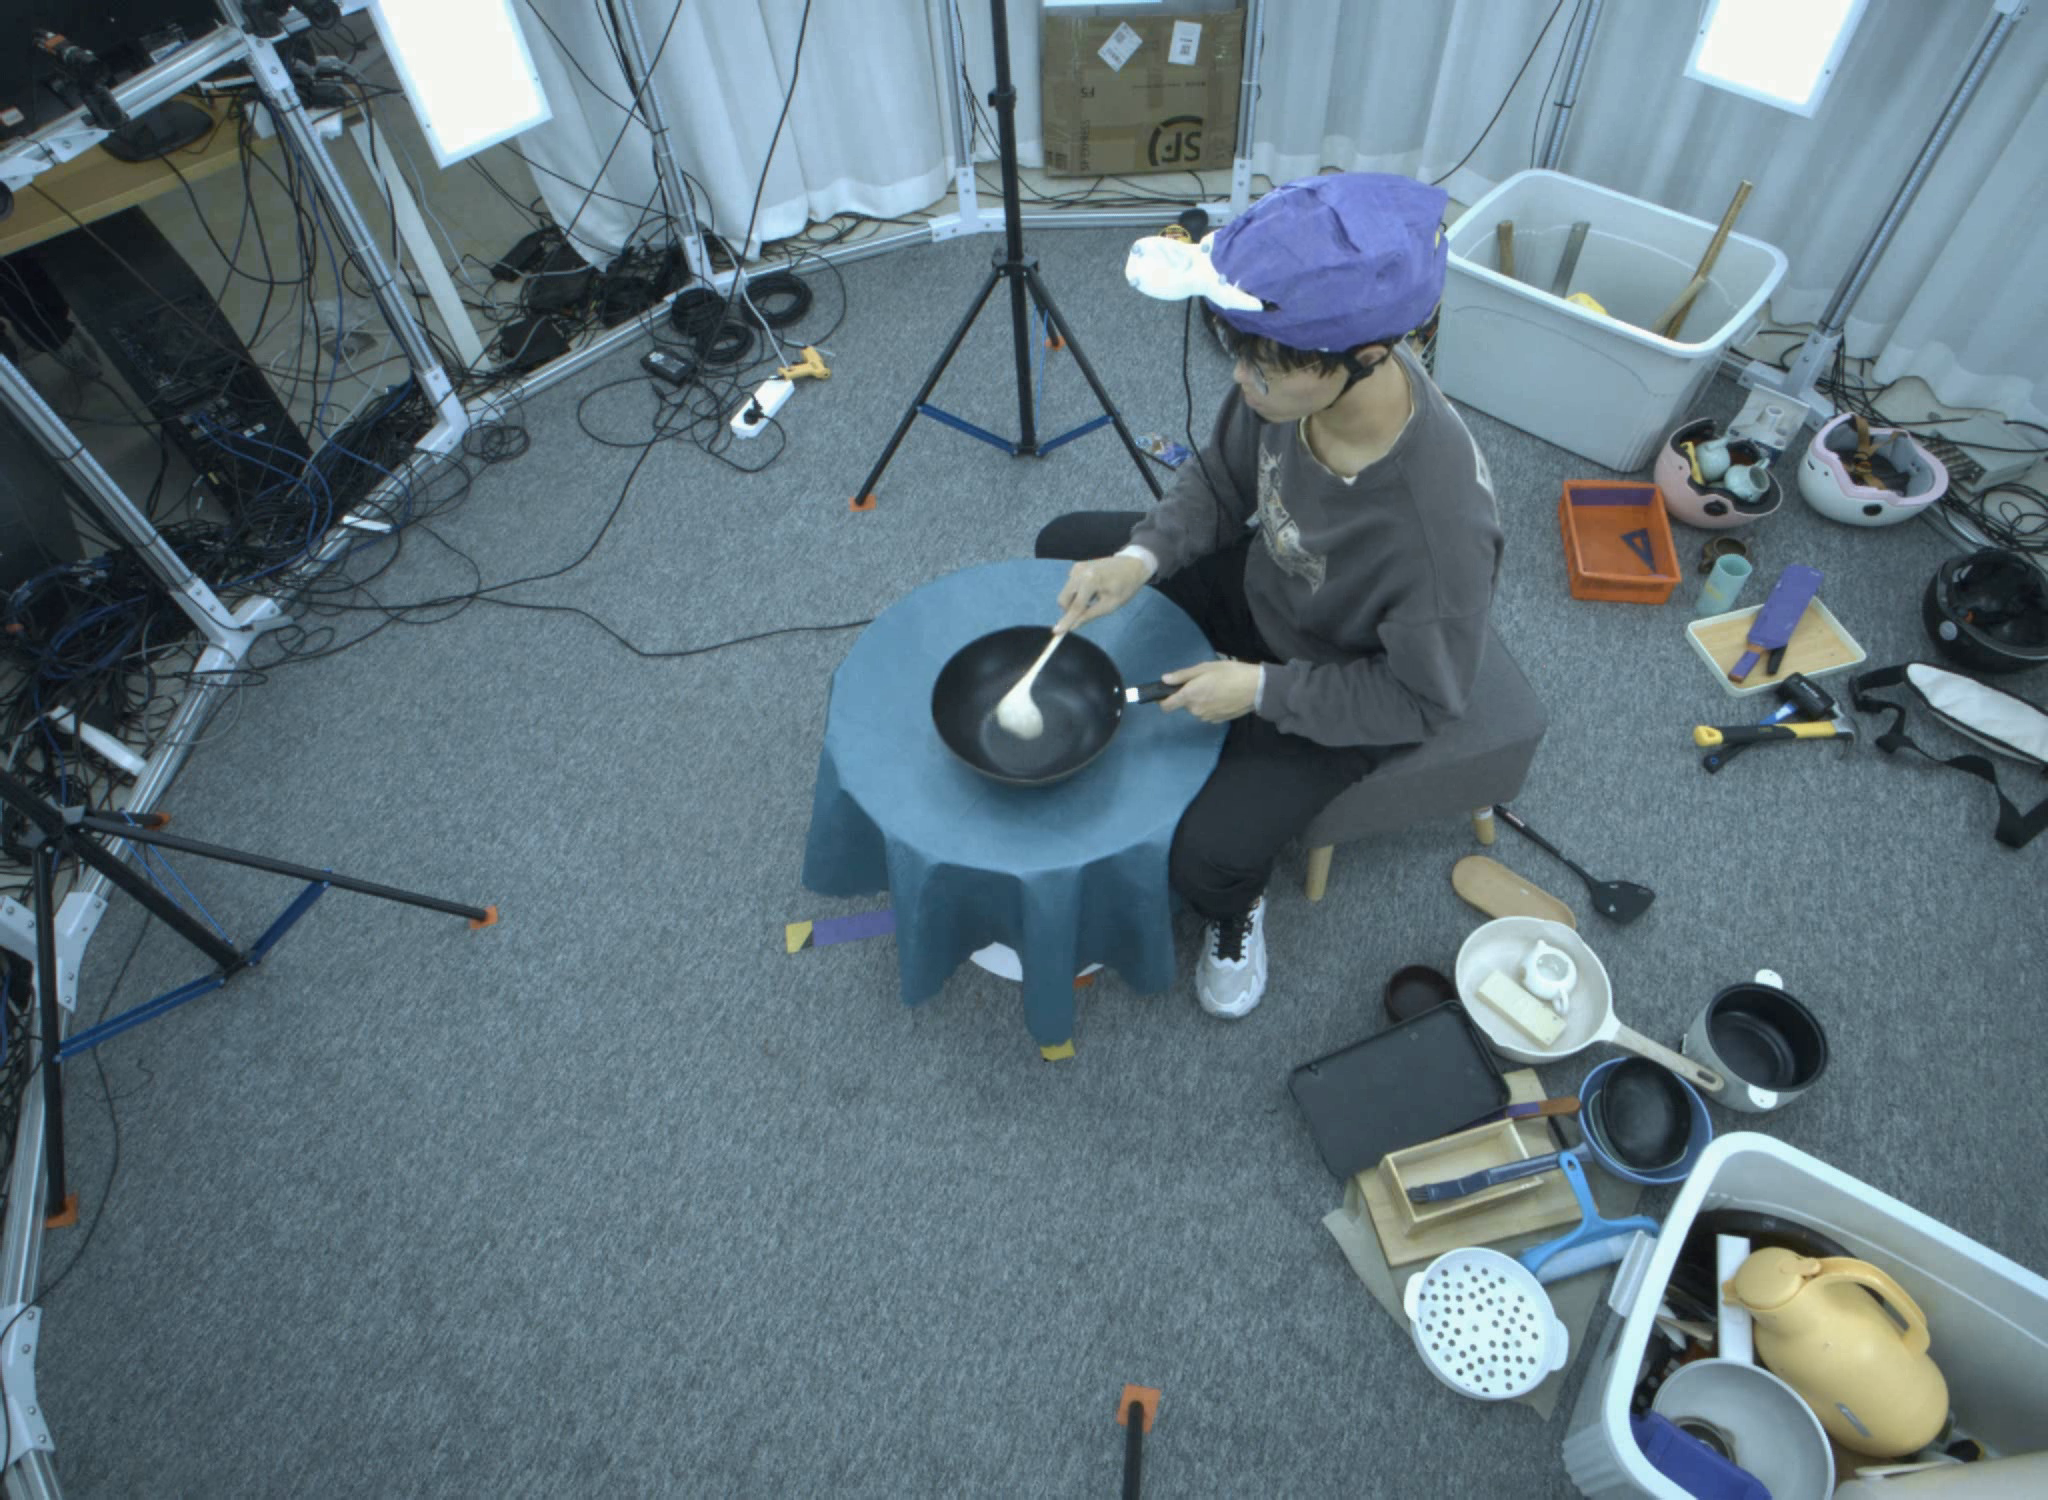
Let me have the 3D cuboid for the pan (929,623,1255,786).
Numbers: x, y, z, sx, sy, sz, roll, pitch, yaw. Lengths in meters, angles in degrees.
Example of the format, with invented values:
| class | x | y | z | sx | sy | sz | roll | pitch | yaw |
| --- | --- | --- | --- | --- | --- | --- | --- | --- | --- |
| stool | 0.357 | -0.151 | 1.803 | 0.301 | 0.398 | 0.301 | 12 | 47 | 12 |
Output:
| class | x | y | z | sx | sy | sz | roll | pitch | yaw |
| --- | --- | --- | --- | --- | --- | --- | --- | --- | --- |
| pan | 0.098 | -0.060 | 1.773 | 0.464 | 0.088 | 0.284 | -4 | 54 | -2 |

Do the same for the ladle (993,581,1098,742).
| class | x | y | z | sx | sy | sz | roll | pitch | yaw |
| --- | --- | --- | --- | --- | --- | --- | --- | --- | --- |
| ladle | 0.046 | -0.122 | 1.741 | 0.070 | 0.074 | 0.255 | 21 | 67 | 39 |
